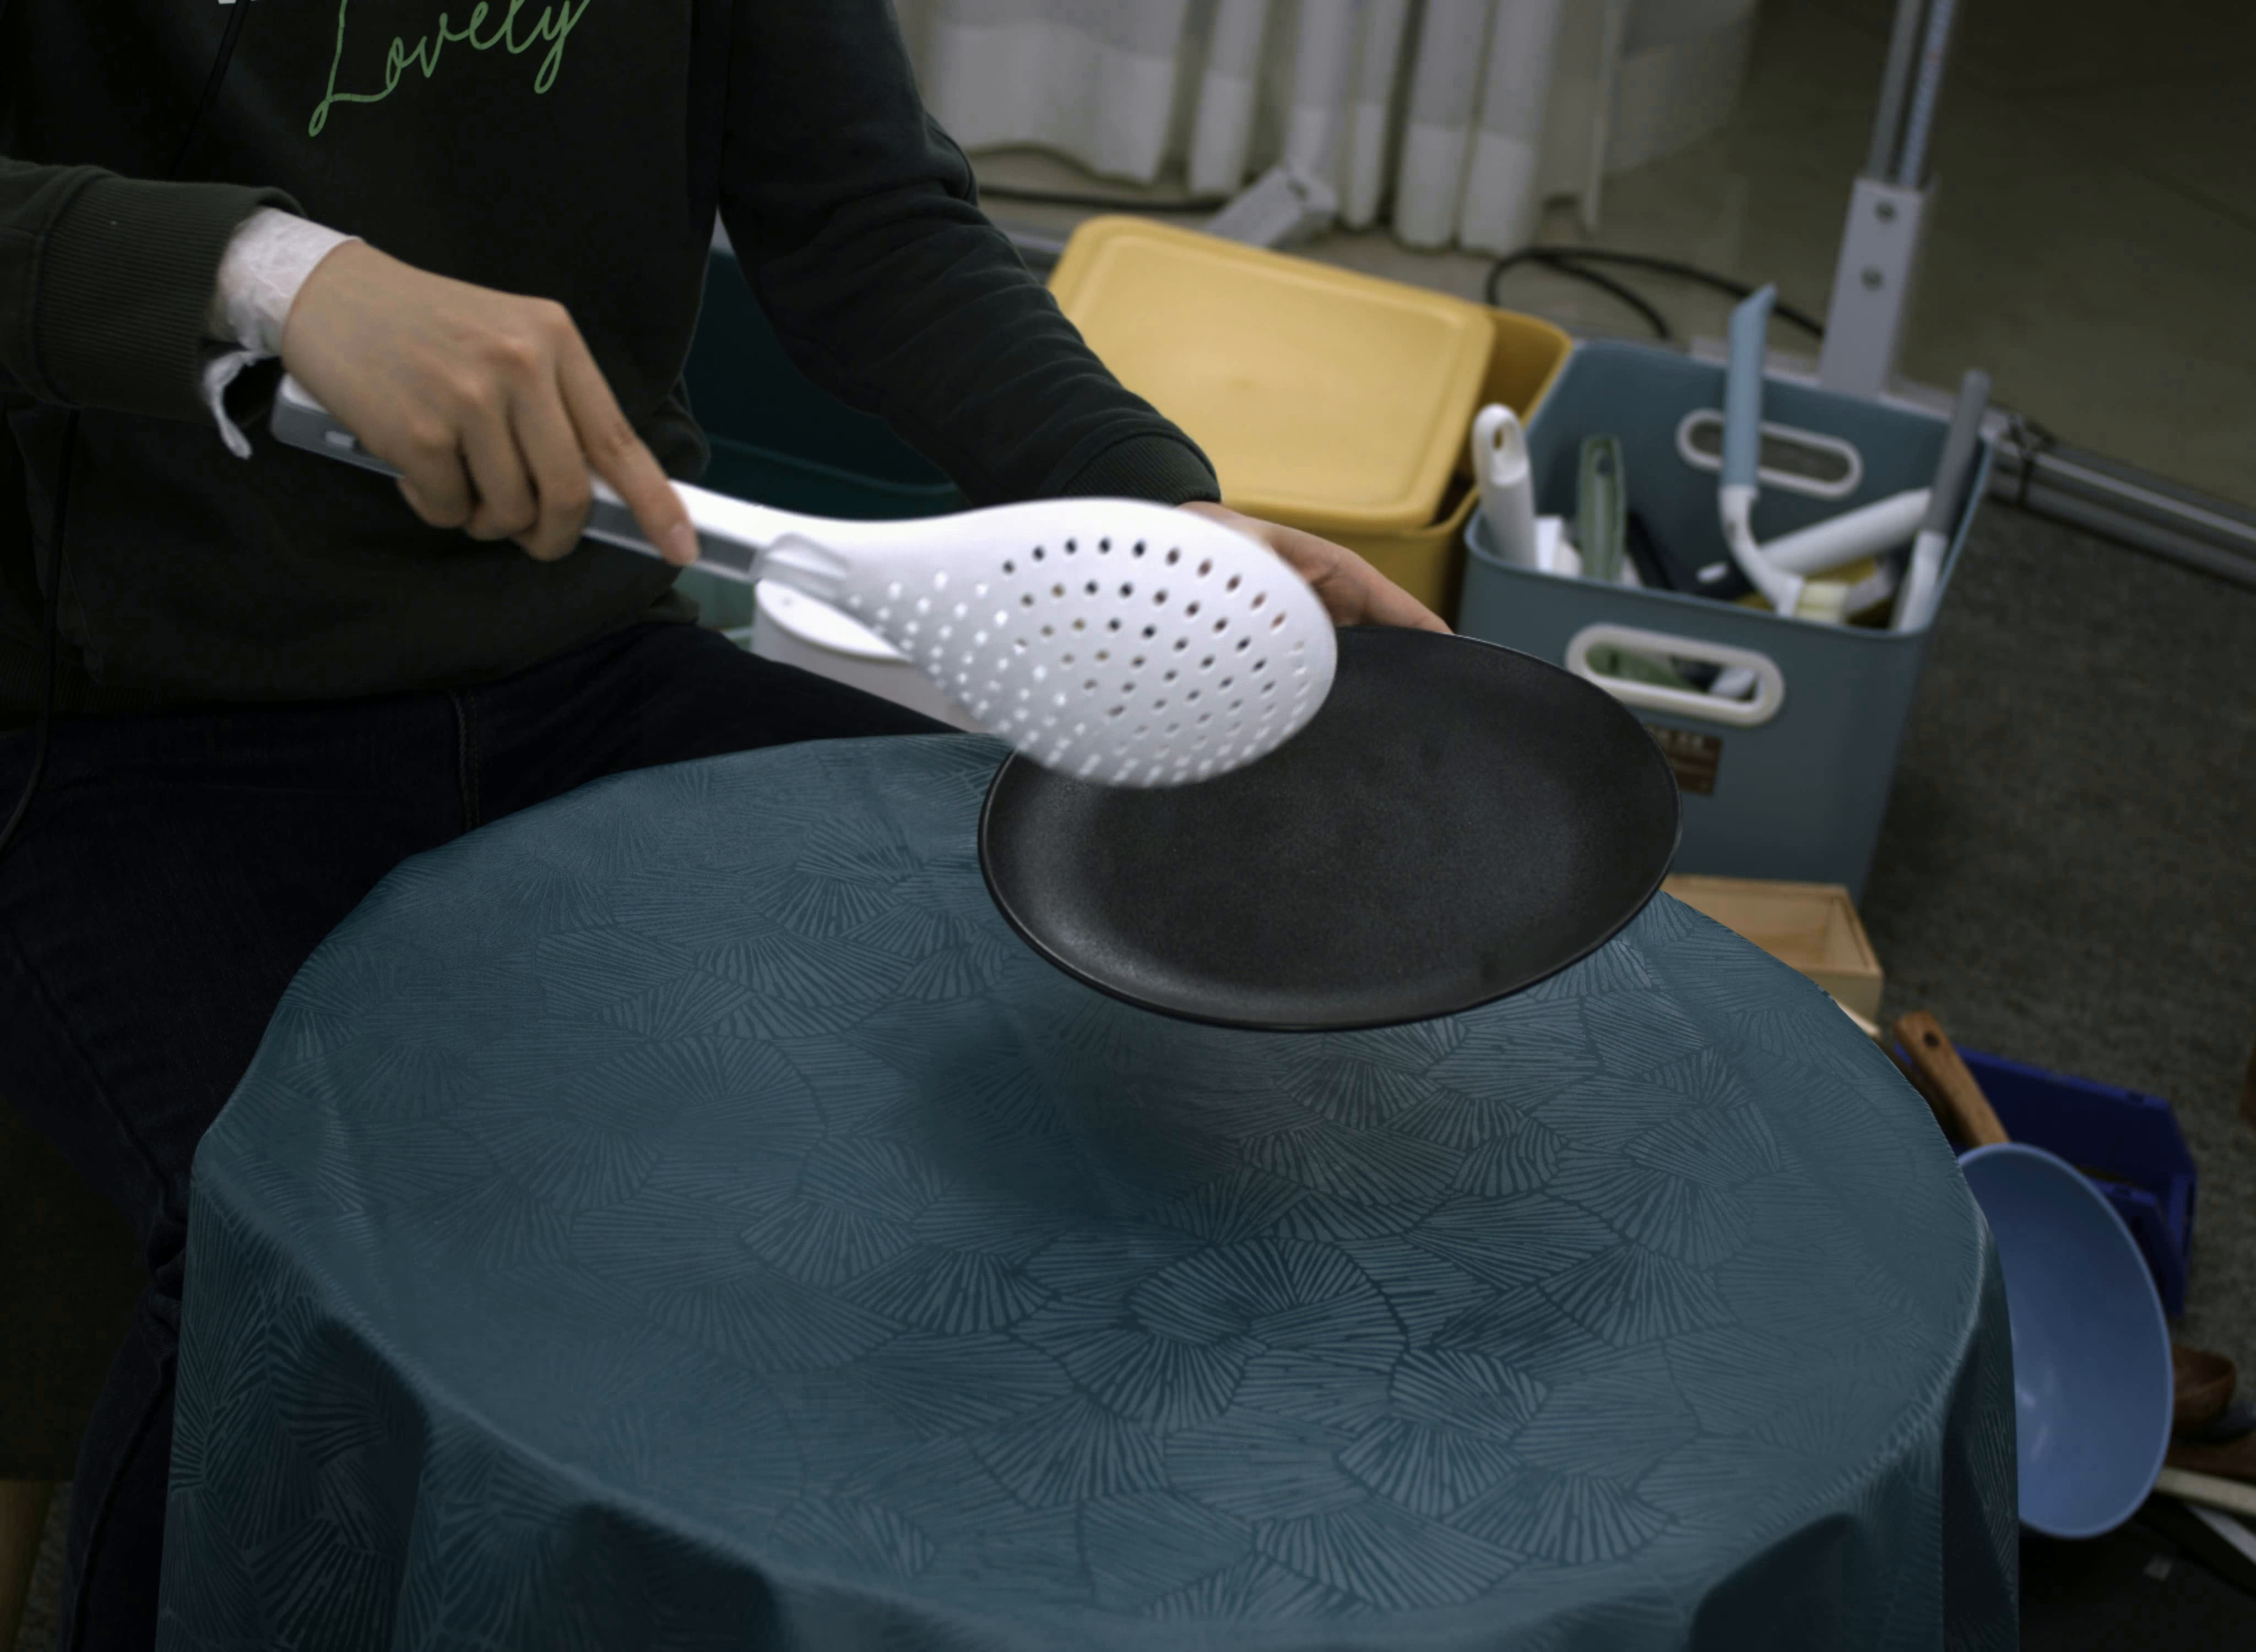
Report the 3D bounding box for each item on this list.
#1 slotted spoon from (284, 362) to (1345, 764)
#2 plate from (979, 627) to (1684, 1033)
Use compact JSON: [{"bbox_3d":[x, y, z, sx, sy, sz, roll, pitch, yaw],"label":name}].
[{"bbox_3d":[-0.100,-0.091,1.713,0.348,0.135,0.046,19,50,-5],"label":"slotted spoon"},{"bbox_3d":[0.070,0.004,1.836,0.244,0.023,0.246,-4,34,2],"label":"plate"}]
